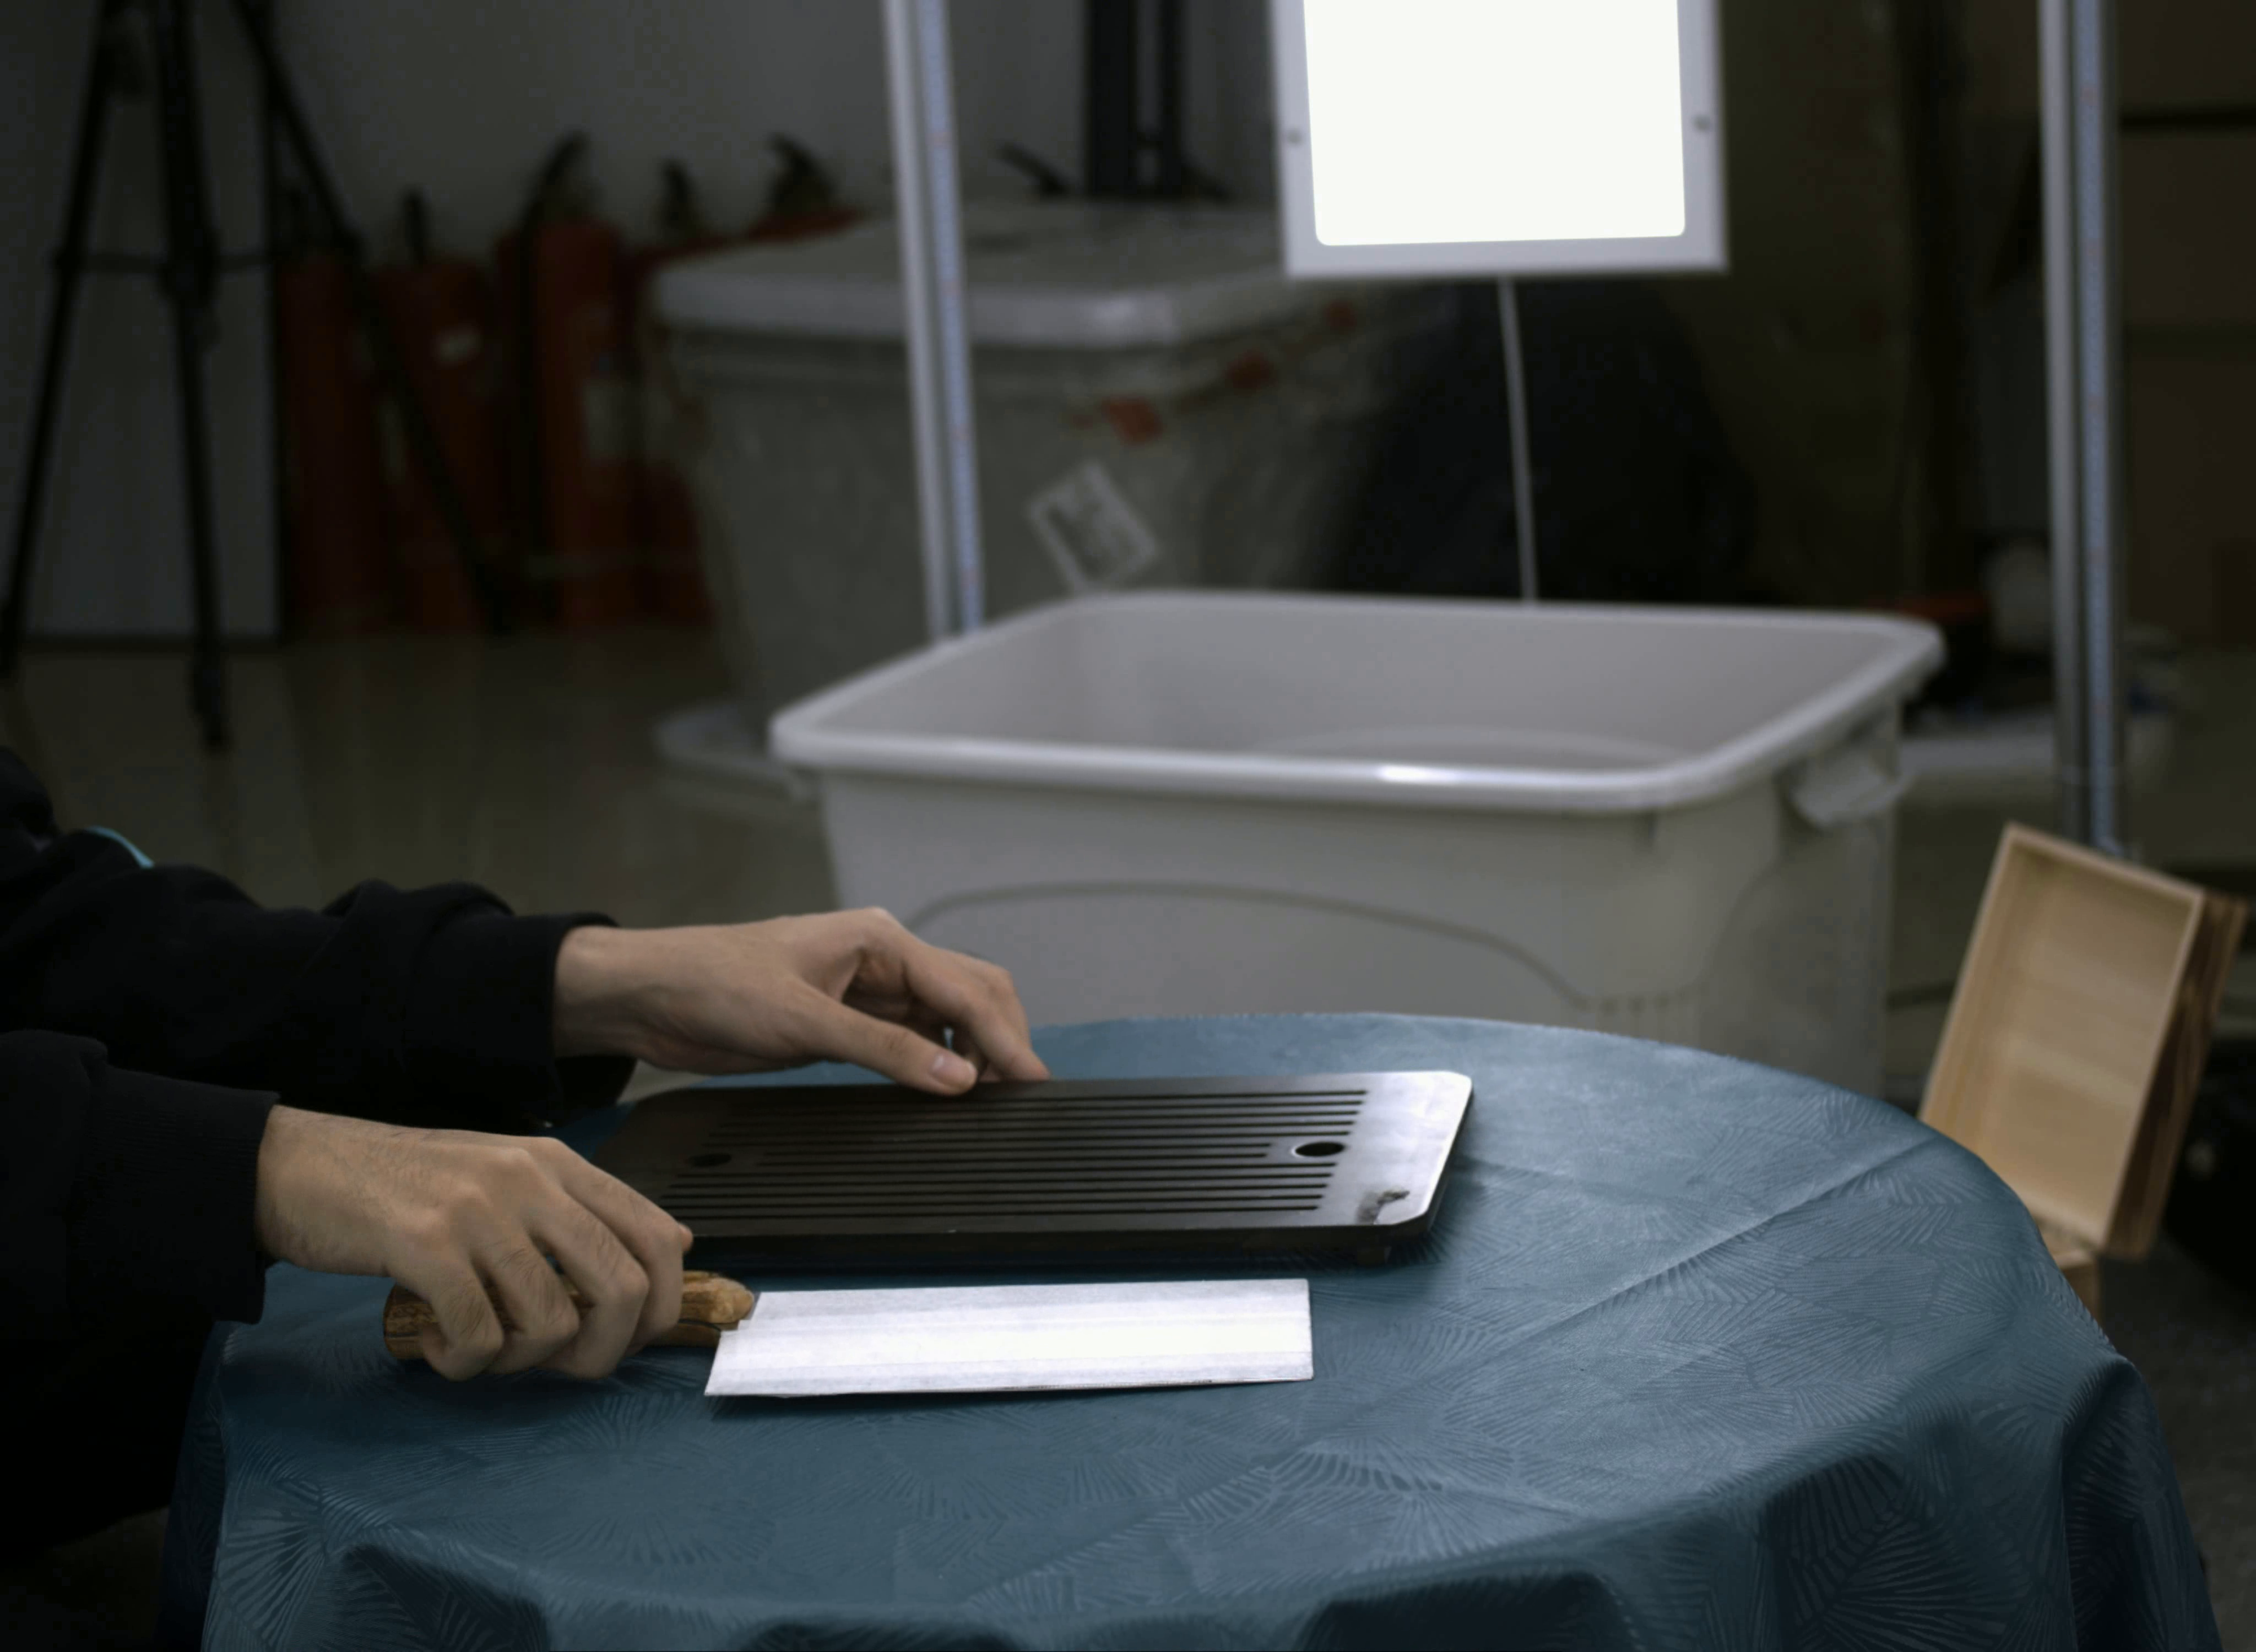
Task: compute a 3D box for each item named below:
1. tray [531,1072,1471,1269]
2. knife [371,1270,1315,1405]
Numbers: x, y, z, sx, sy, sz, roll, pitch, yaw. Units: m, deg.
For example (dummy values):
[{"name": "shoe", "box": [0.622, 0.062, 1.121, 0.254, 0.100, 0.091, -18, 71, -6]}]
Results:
[{"name": "tray", "box": [-0.040, 0.119, 1.902, 0.308, 0.019, 0.168, -2, 14, 13]}, {"name": "knife", "box": [-0.093, 0.163, 1.751, 0.306, 0.021, 0.092, -2, 16, 4]}]
